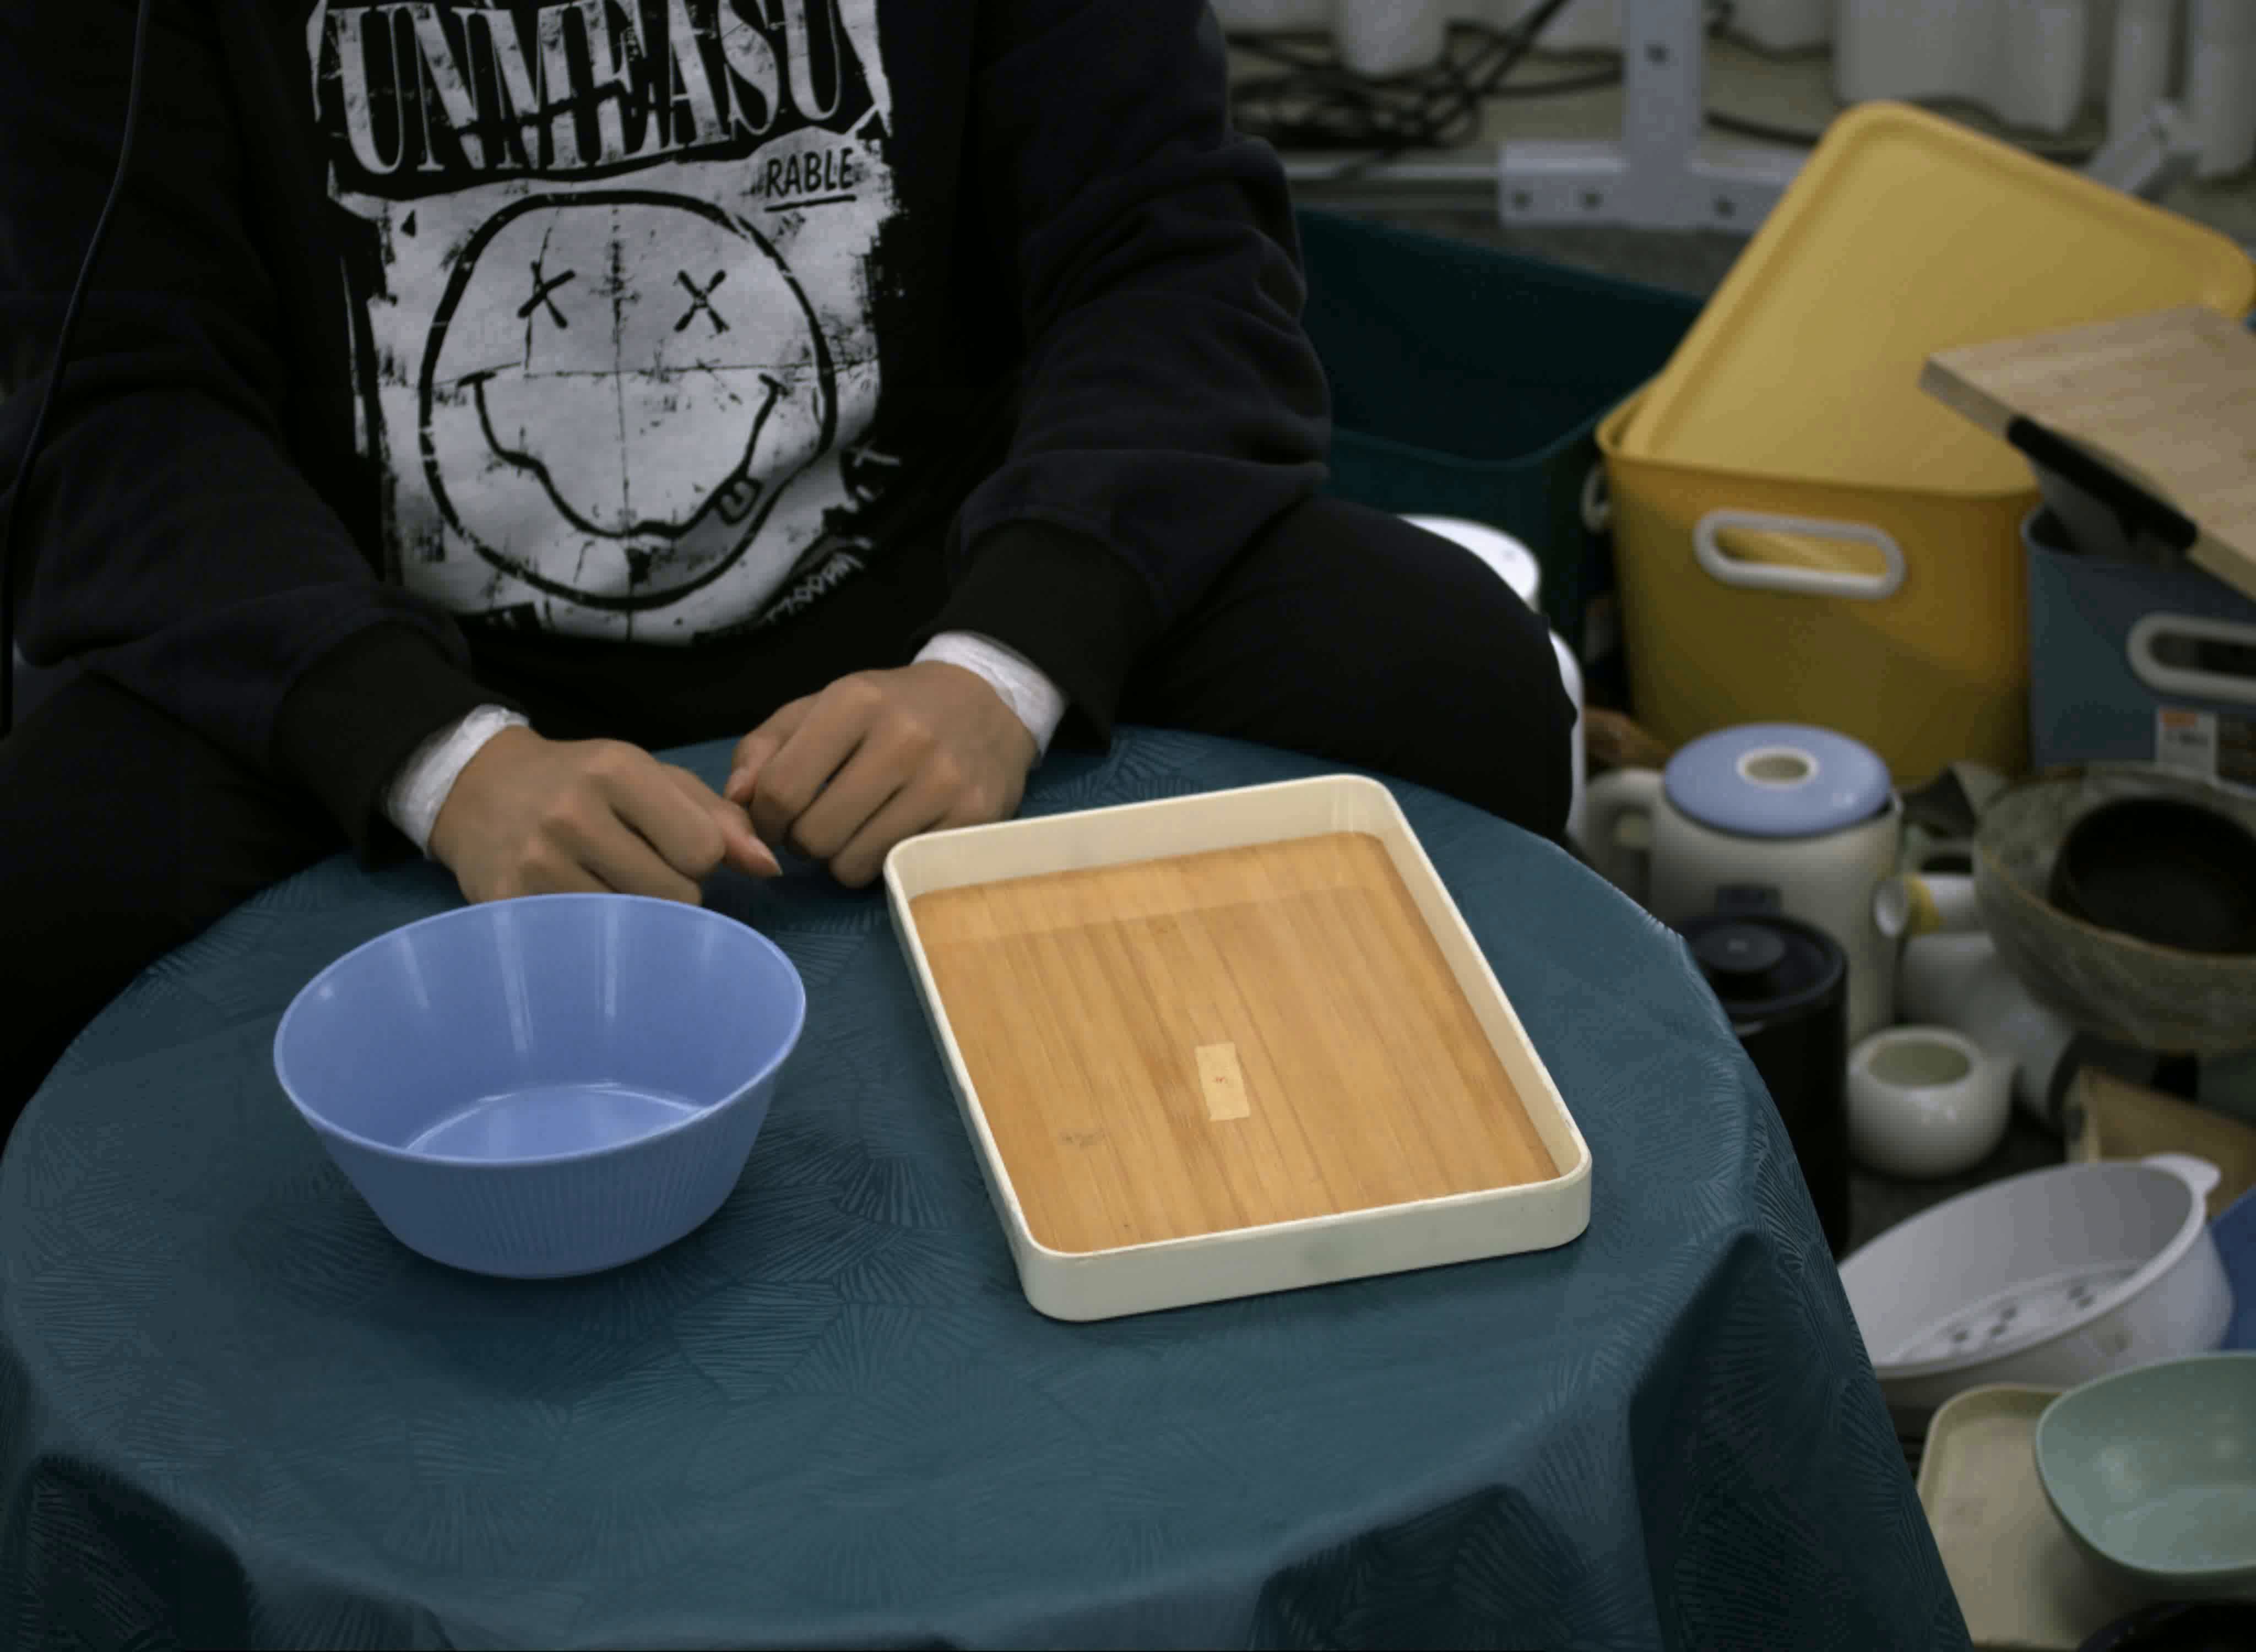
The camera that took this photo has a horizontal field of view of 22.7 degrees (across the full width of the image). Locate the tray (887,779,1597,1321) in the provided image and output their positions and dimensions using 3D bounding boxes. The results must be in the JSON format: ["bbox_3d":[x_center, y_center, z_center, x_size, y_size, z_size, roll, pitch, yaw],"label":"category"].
[{"bbox_3d":[0.033,0.071,1.927,0.191,0.027,0.304,-8,28,-9],"label":"tray"}]

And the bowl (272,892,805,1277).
[{"bbox_3d":[-0.192,0.092,1.861,0.175,0.069,0.179,-2,28,1],"label":"bowl"}]
